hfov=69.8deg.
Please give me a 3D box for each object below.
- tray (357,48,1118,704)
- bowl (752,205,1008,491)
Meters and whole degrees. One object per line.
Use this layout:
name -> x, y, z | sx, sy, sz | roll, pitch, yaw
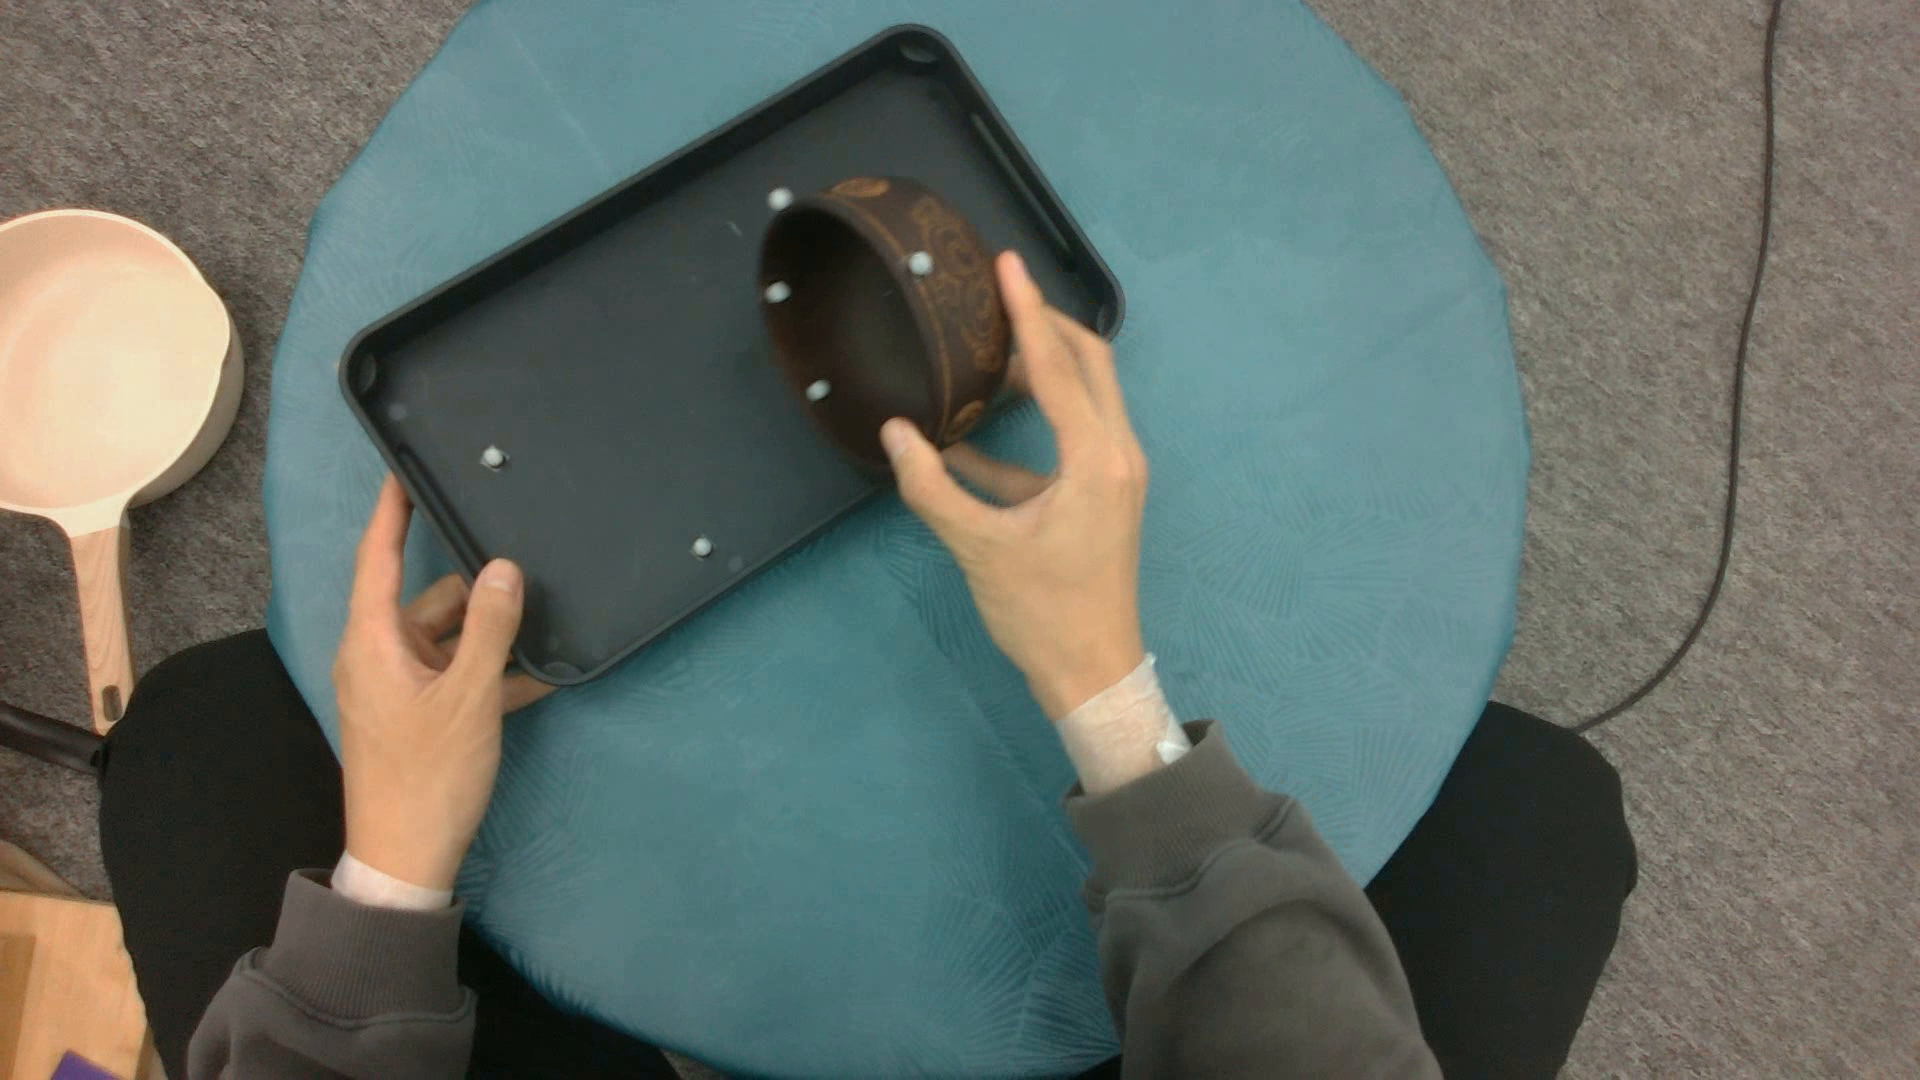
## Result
tray -> -0.098, -0.081, 0.649 | 0.318, 0.037, 0.184 | -35, 86, -11
bowl -> -0.026, -0.087, 0.587 | 0.070, 0.117, 0.118 | -32, 83, -34
